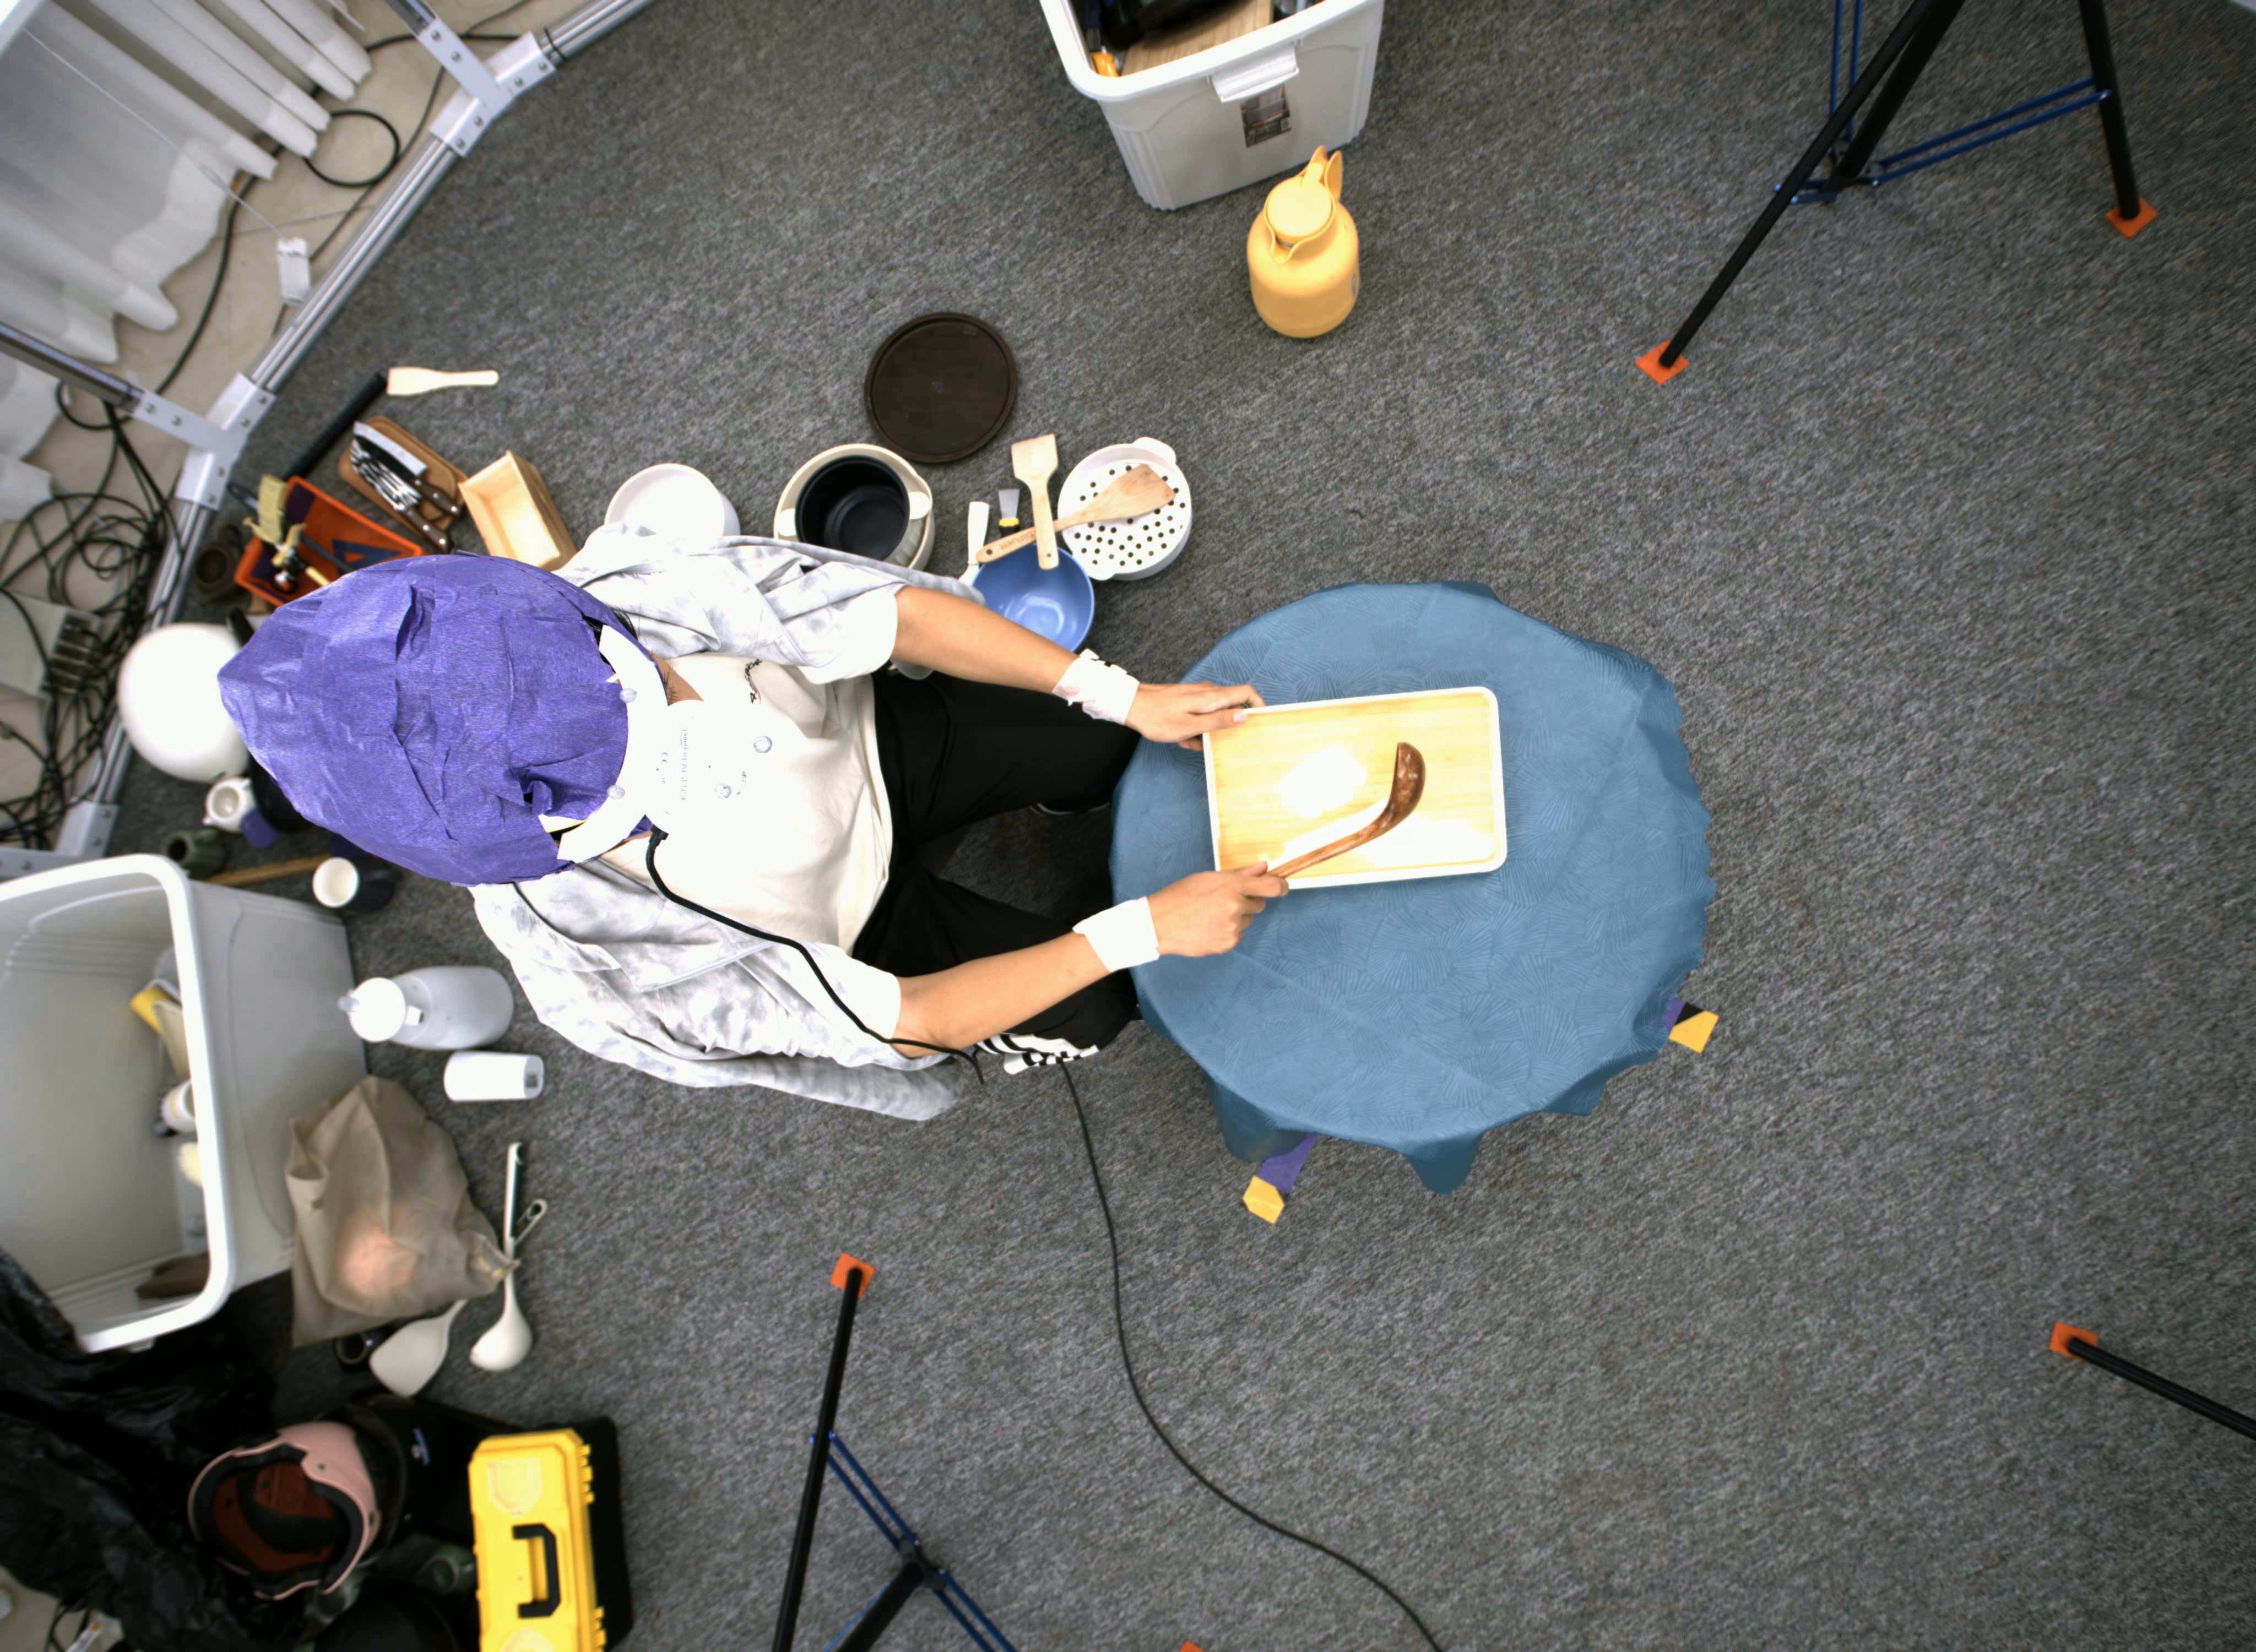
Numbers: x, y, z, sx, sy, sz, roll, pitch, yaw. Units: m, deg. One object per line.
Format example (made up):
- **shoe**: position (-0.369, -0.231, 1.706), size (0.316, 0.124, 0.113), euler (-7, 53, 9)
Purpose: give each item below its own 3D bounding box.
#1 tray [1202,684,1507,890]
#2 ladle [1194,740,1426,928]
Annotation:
- **tray**: position (0.234, -0.041, 1.421), size (0.301, 0.027, 0.193), euler (-5, 101, 6)
- **ladle**: position (0.172, 0.006, 1.358), size (0.276, 0.082, 0.076), euler (-28, 82, 11)
